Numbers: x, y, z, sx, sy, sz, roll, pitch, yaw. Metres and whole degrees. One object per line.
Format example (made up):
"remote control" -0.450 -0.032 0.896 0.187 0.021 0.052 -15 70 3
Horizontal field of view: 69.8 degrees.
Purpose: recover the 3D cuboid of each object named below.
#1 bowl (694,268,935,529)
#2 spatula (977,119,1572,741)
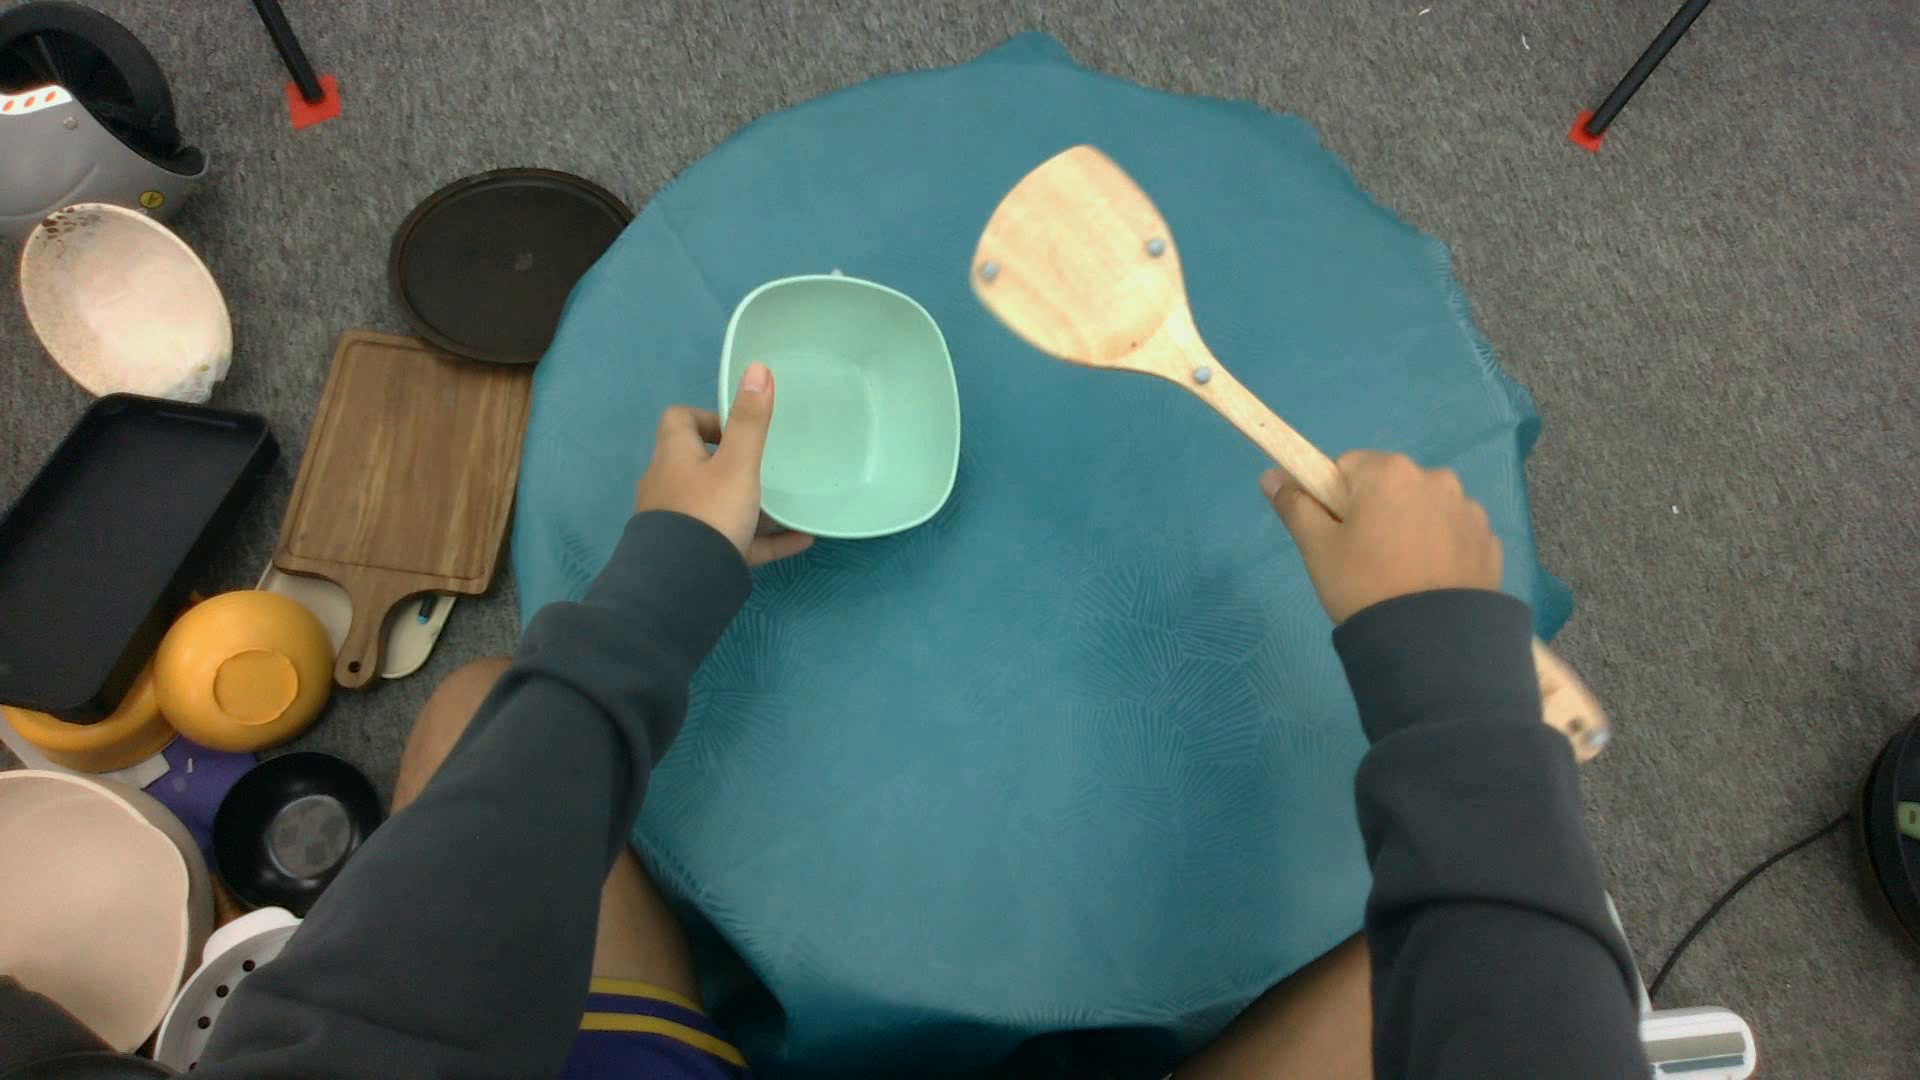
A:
"bowl" -0.087 -0.072 0.746 0.152 0.058 0.151 5 80 -32
"spatula" 0.165 -0.045 0.672 0.390 0.018 0.096 44 78 -2
